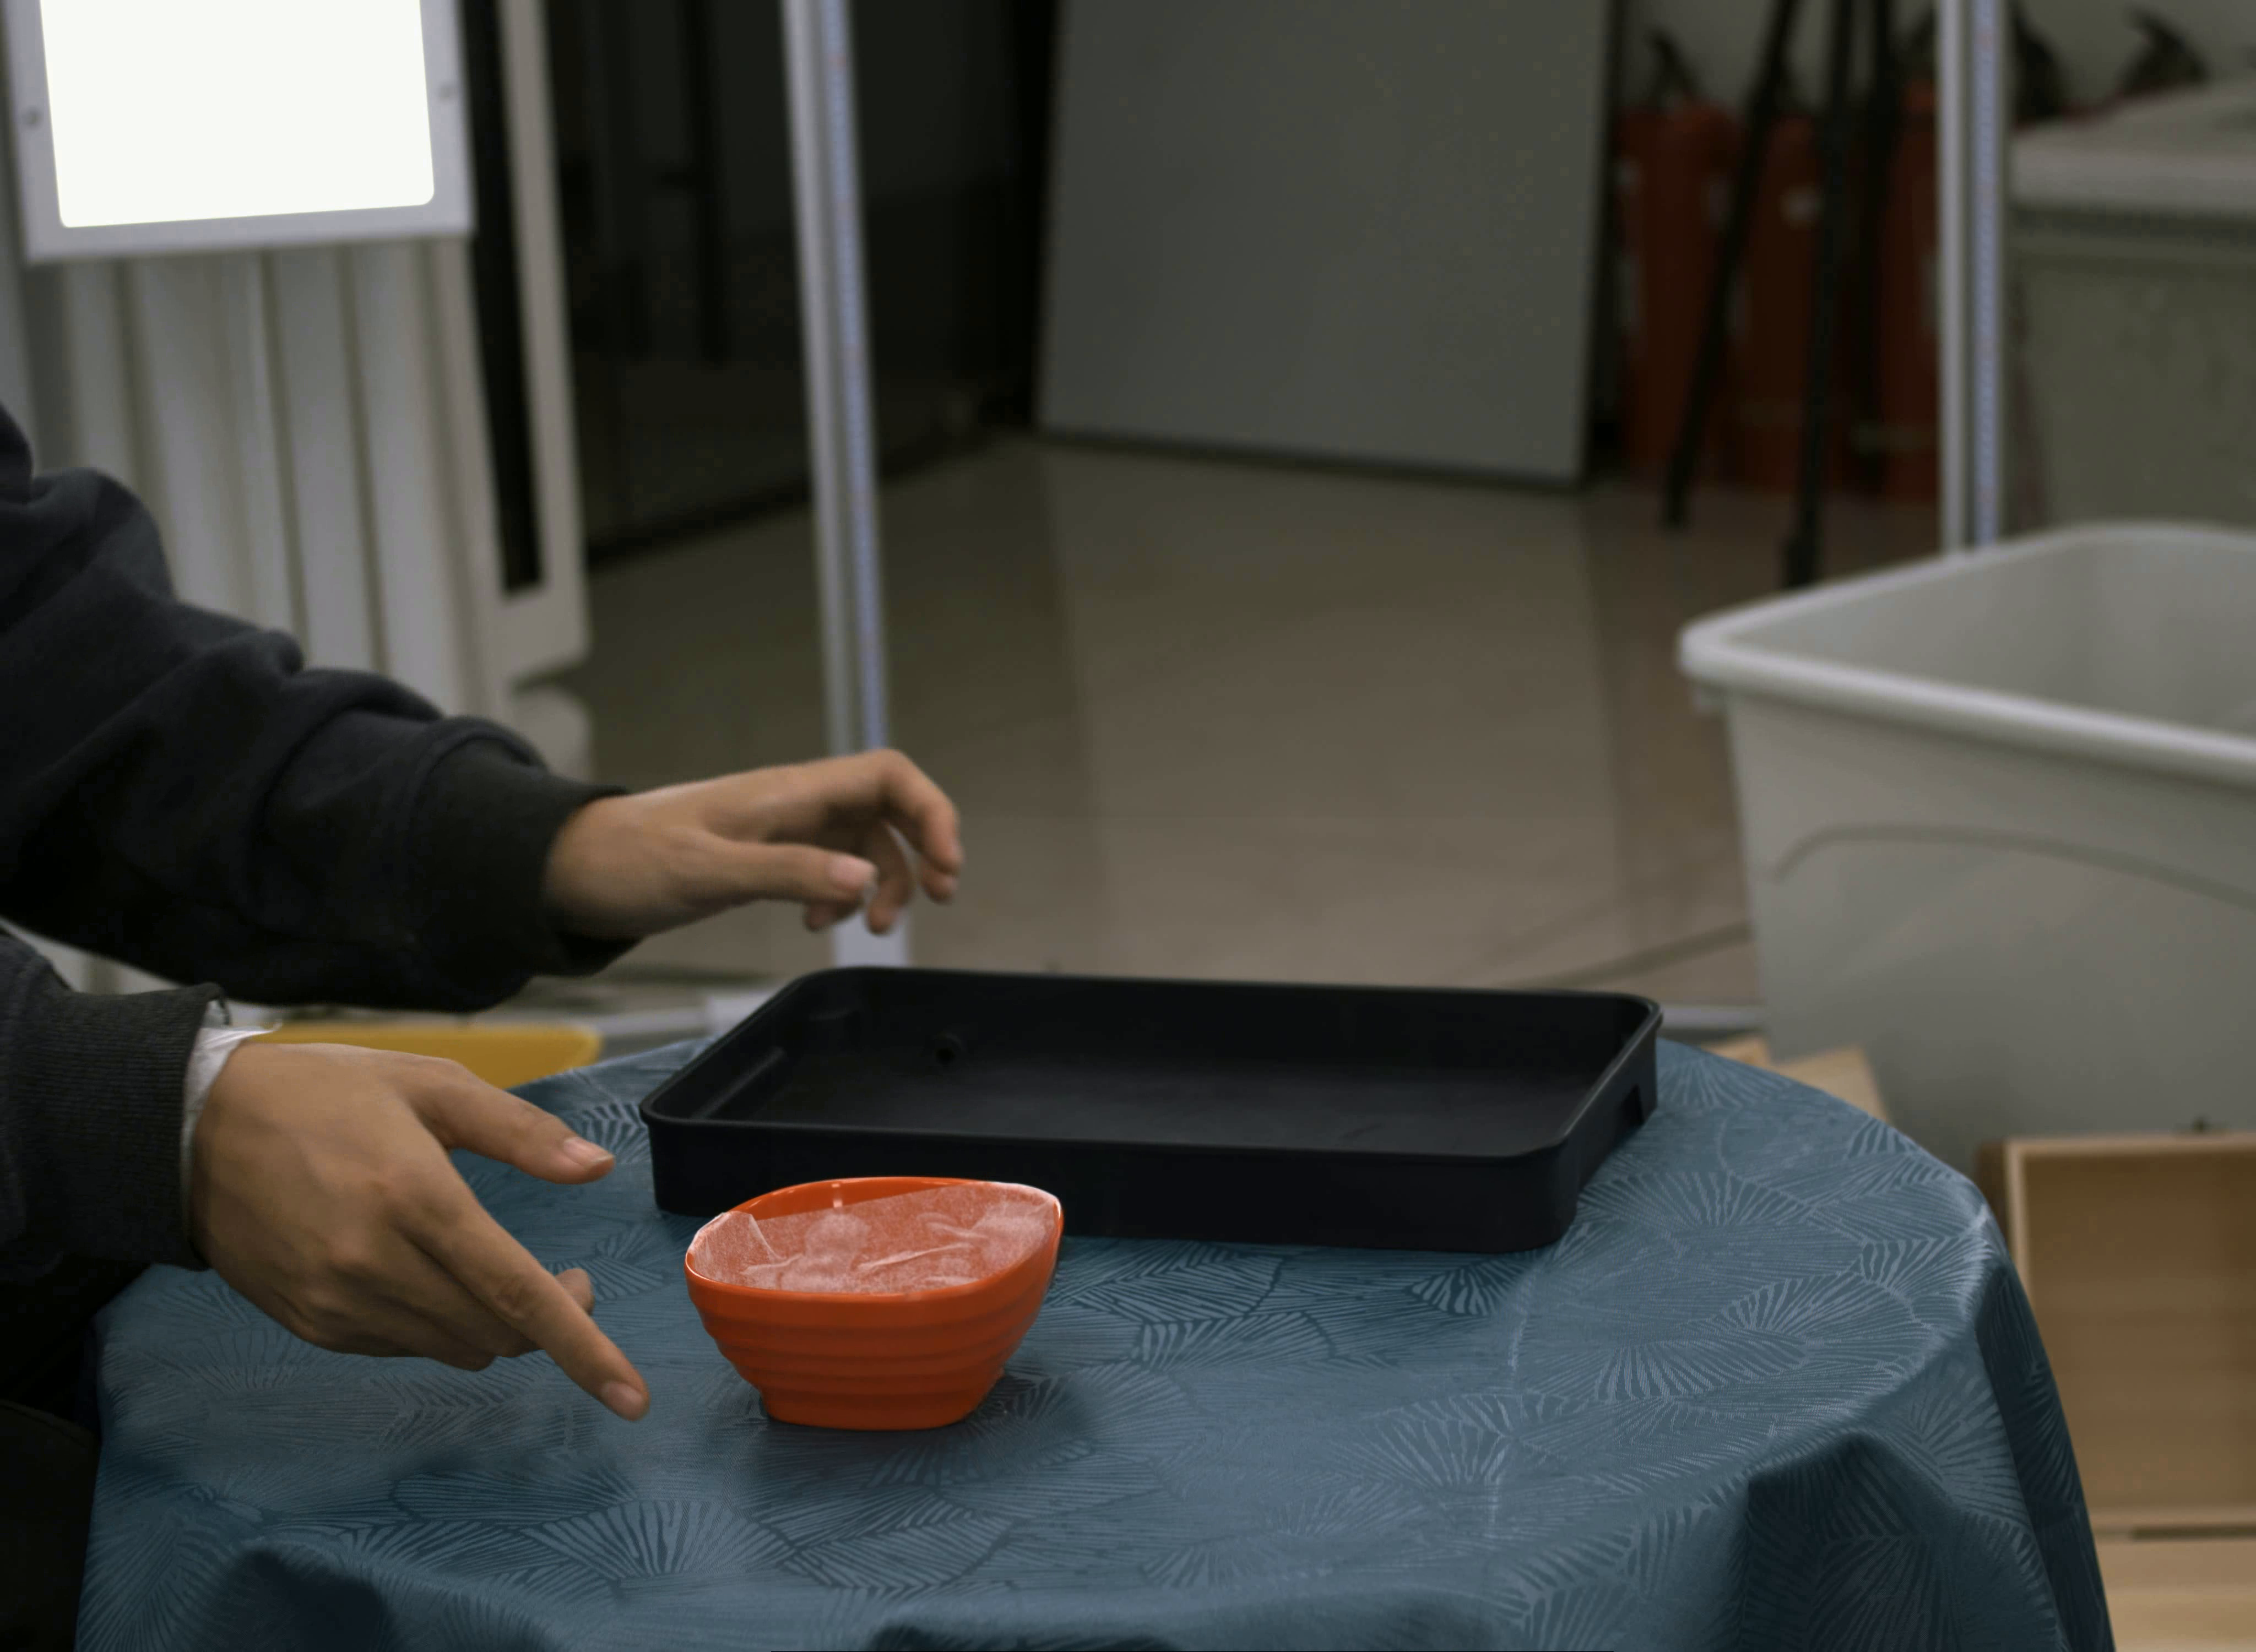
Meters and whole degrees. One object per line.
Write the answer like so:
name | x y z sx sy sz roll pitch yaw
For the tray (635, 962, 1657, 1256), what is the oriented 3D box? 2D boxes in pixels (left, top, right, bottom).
tray | 0.009 0.092 1.803 0.317 0.037 0.182 2 14 19

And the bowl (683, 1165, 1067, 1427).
bowl | -0.073 0.141 1.591 0.117 0.052 0.119 -2 15 0
